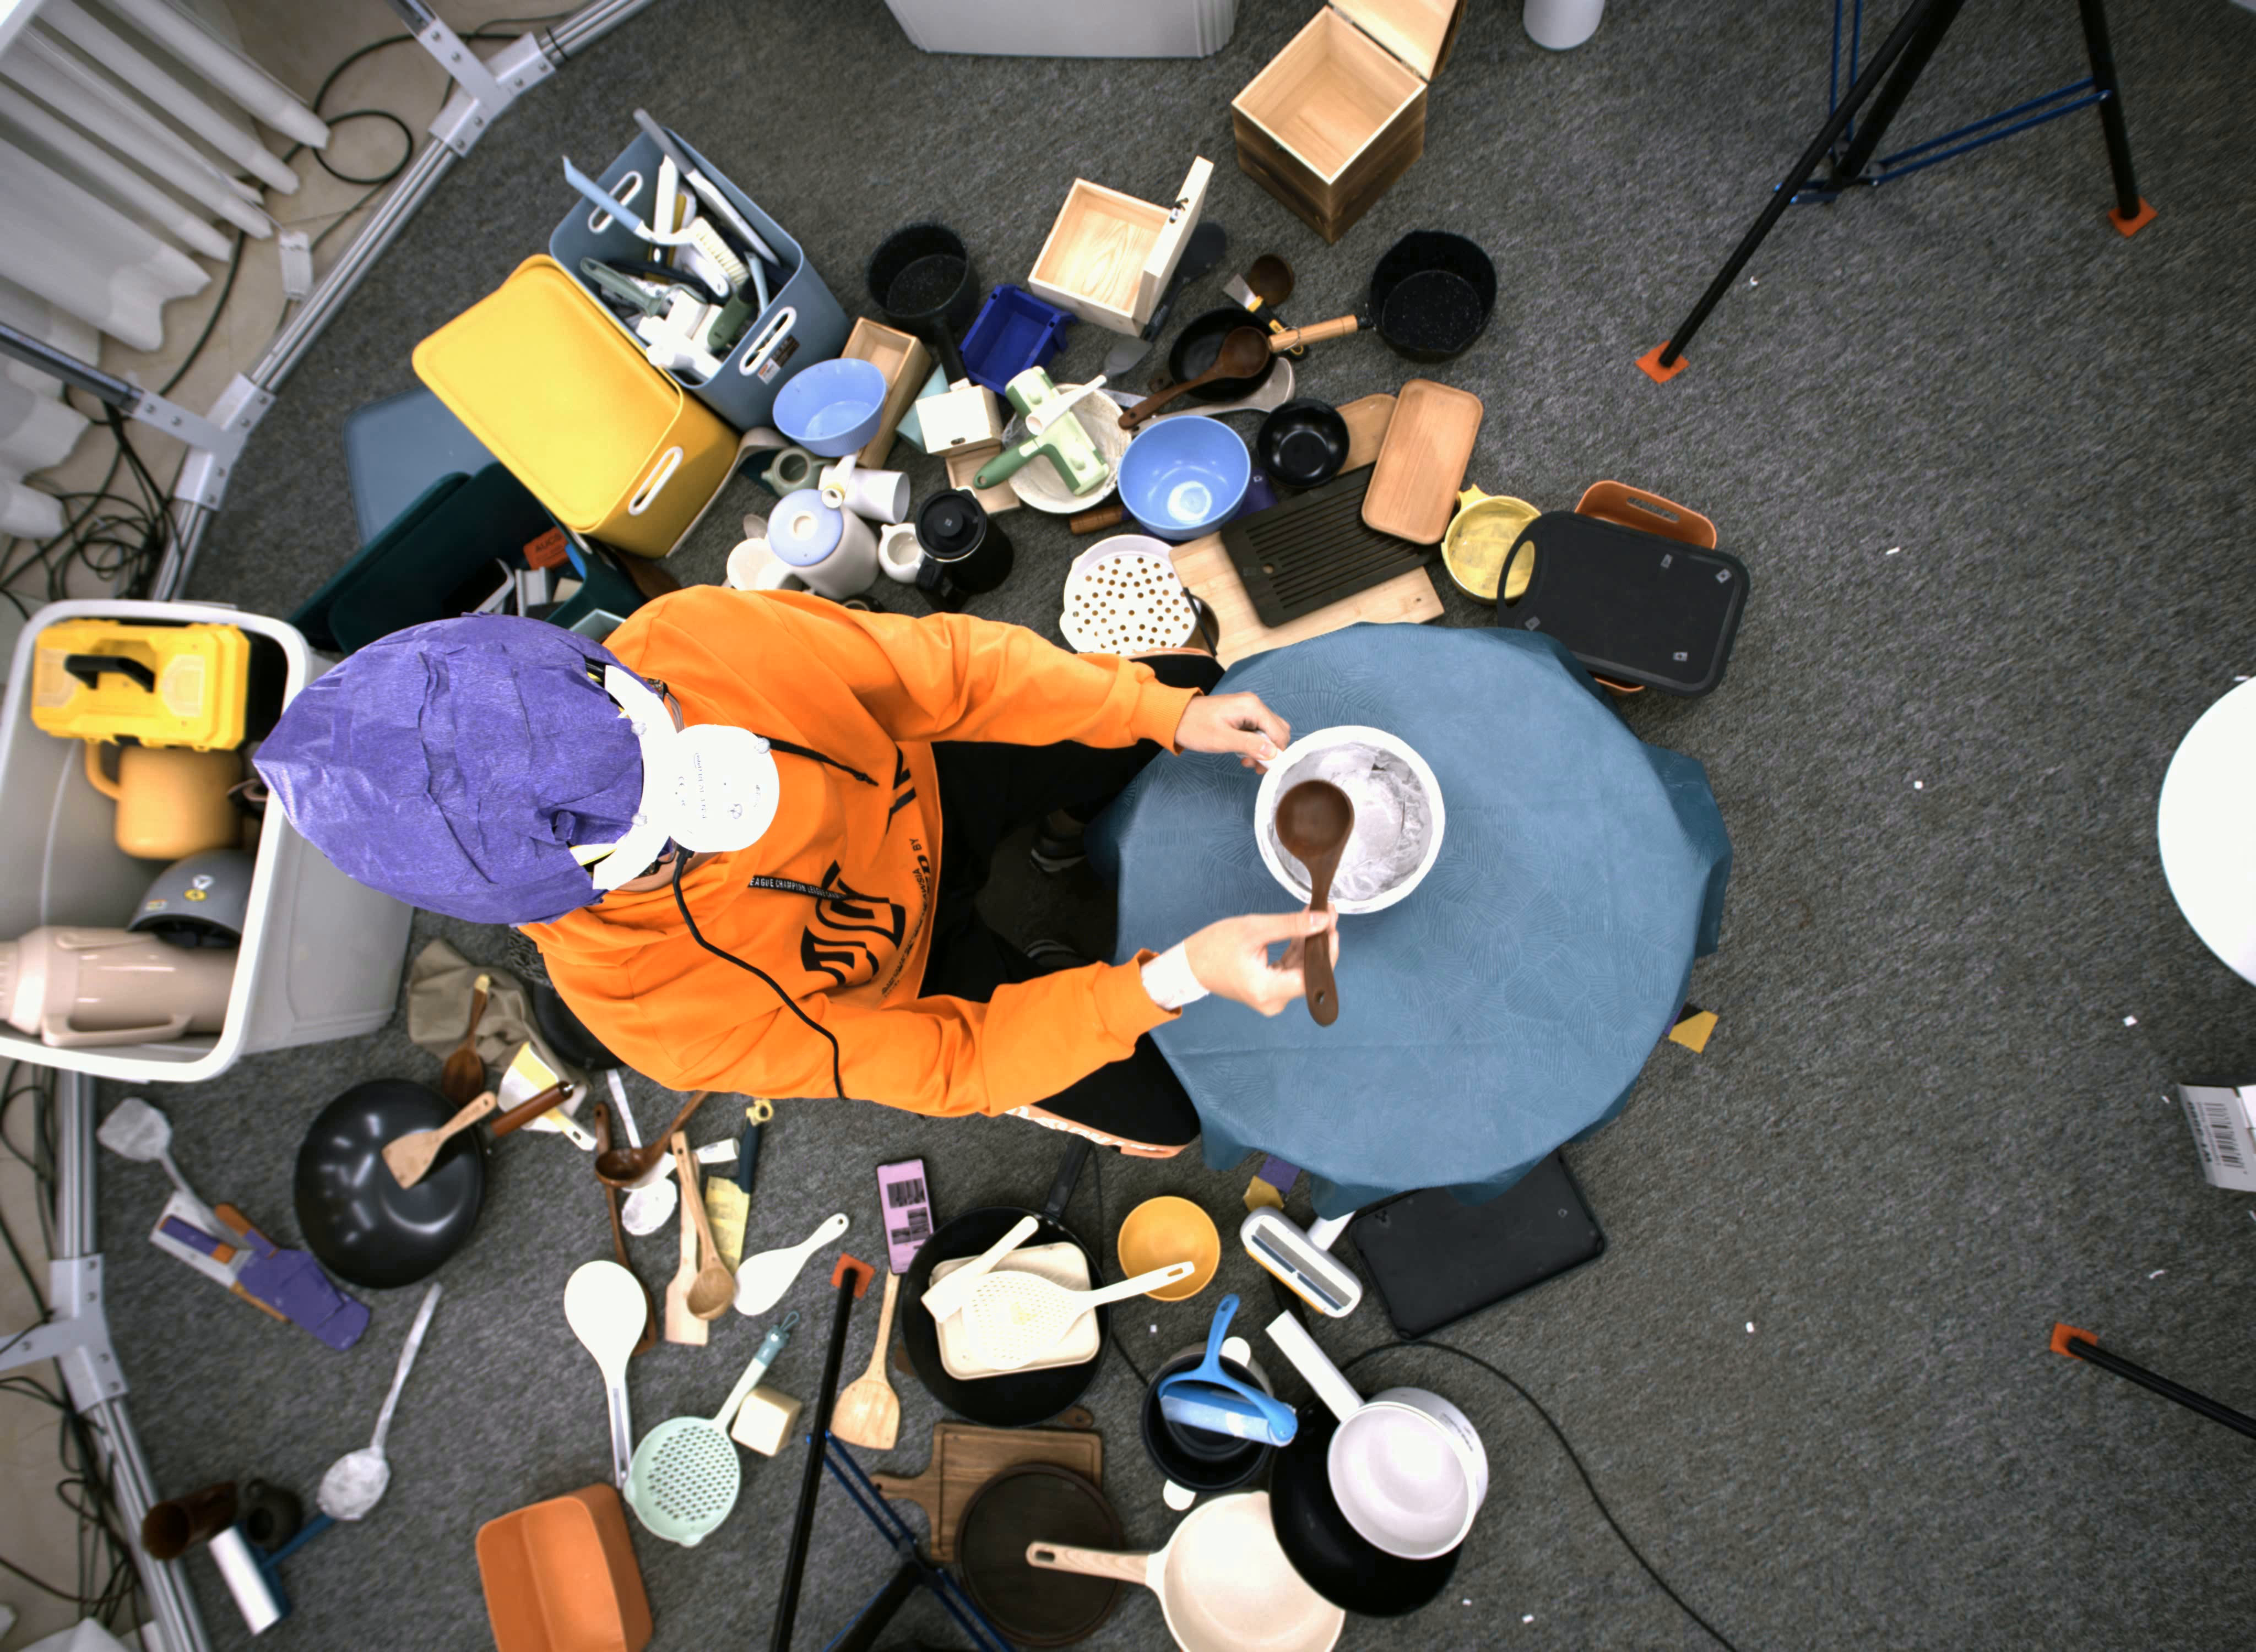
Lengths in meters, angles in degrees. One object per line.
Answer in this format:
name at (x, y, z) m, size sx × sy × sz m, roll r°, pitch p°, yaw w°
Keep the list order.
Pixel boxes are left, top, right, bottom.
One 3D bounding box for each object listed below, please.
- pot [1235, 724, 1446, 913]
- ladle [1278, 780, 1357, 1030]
pot at (0.198, -0.021, 1.358) m, size 0.233 × 0.136 × 0.179 m, roll 39°, pitch 95°, yaw 10°
ladle at (0.161, 0.061, 1.195) m, size 0.078 × 0.253 × 0.066 m, roll -25°, pitch 123°, yaw 30°
